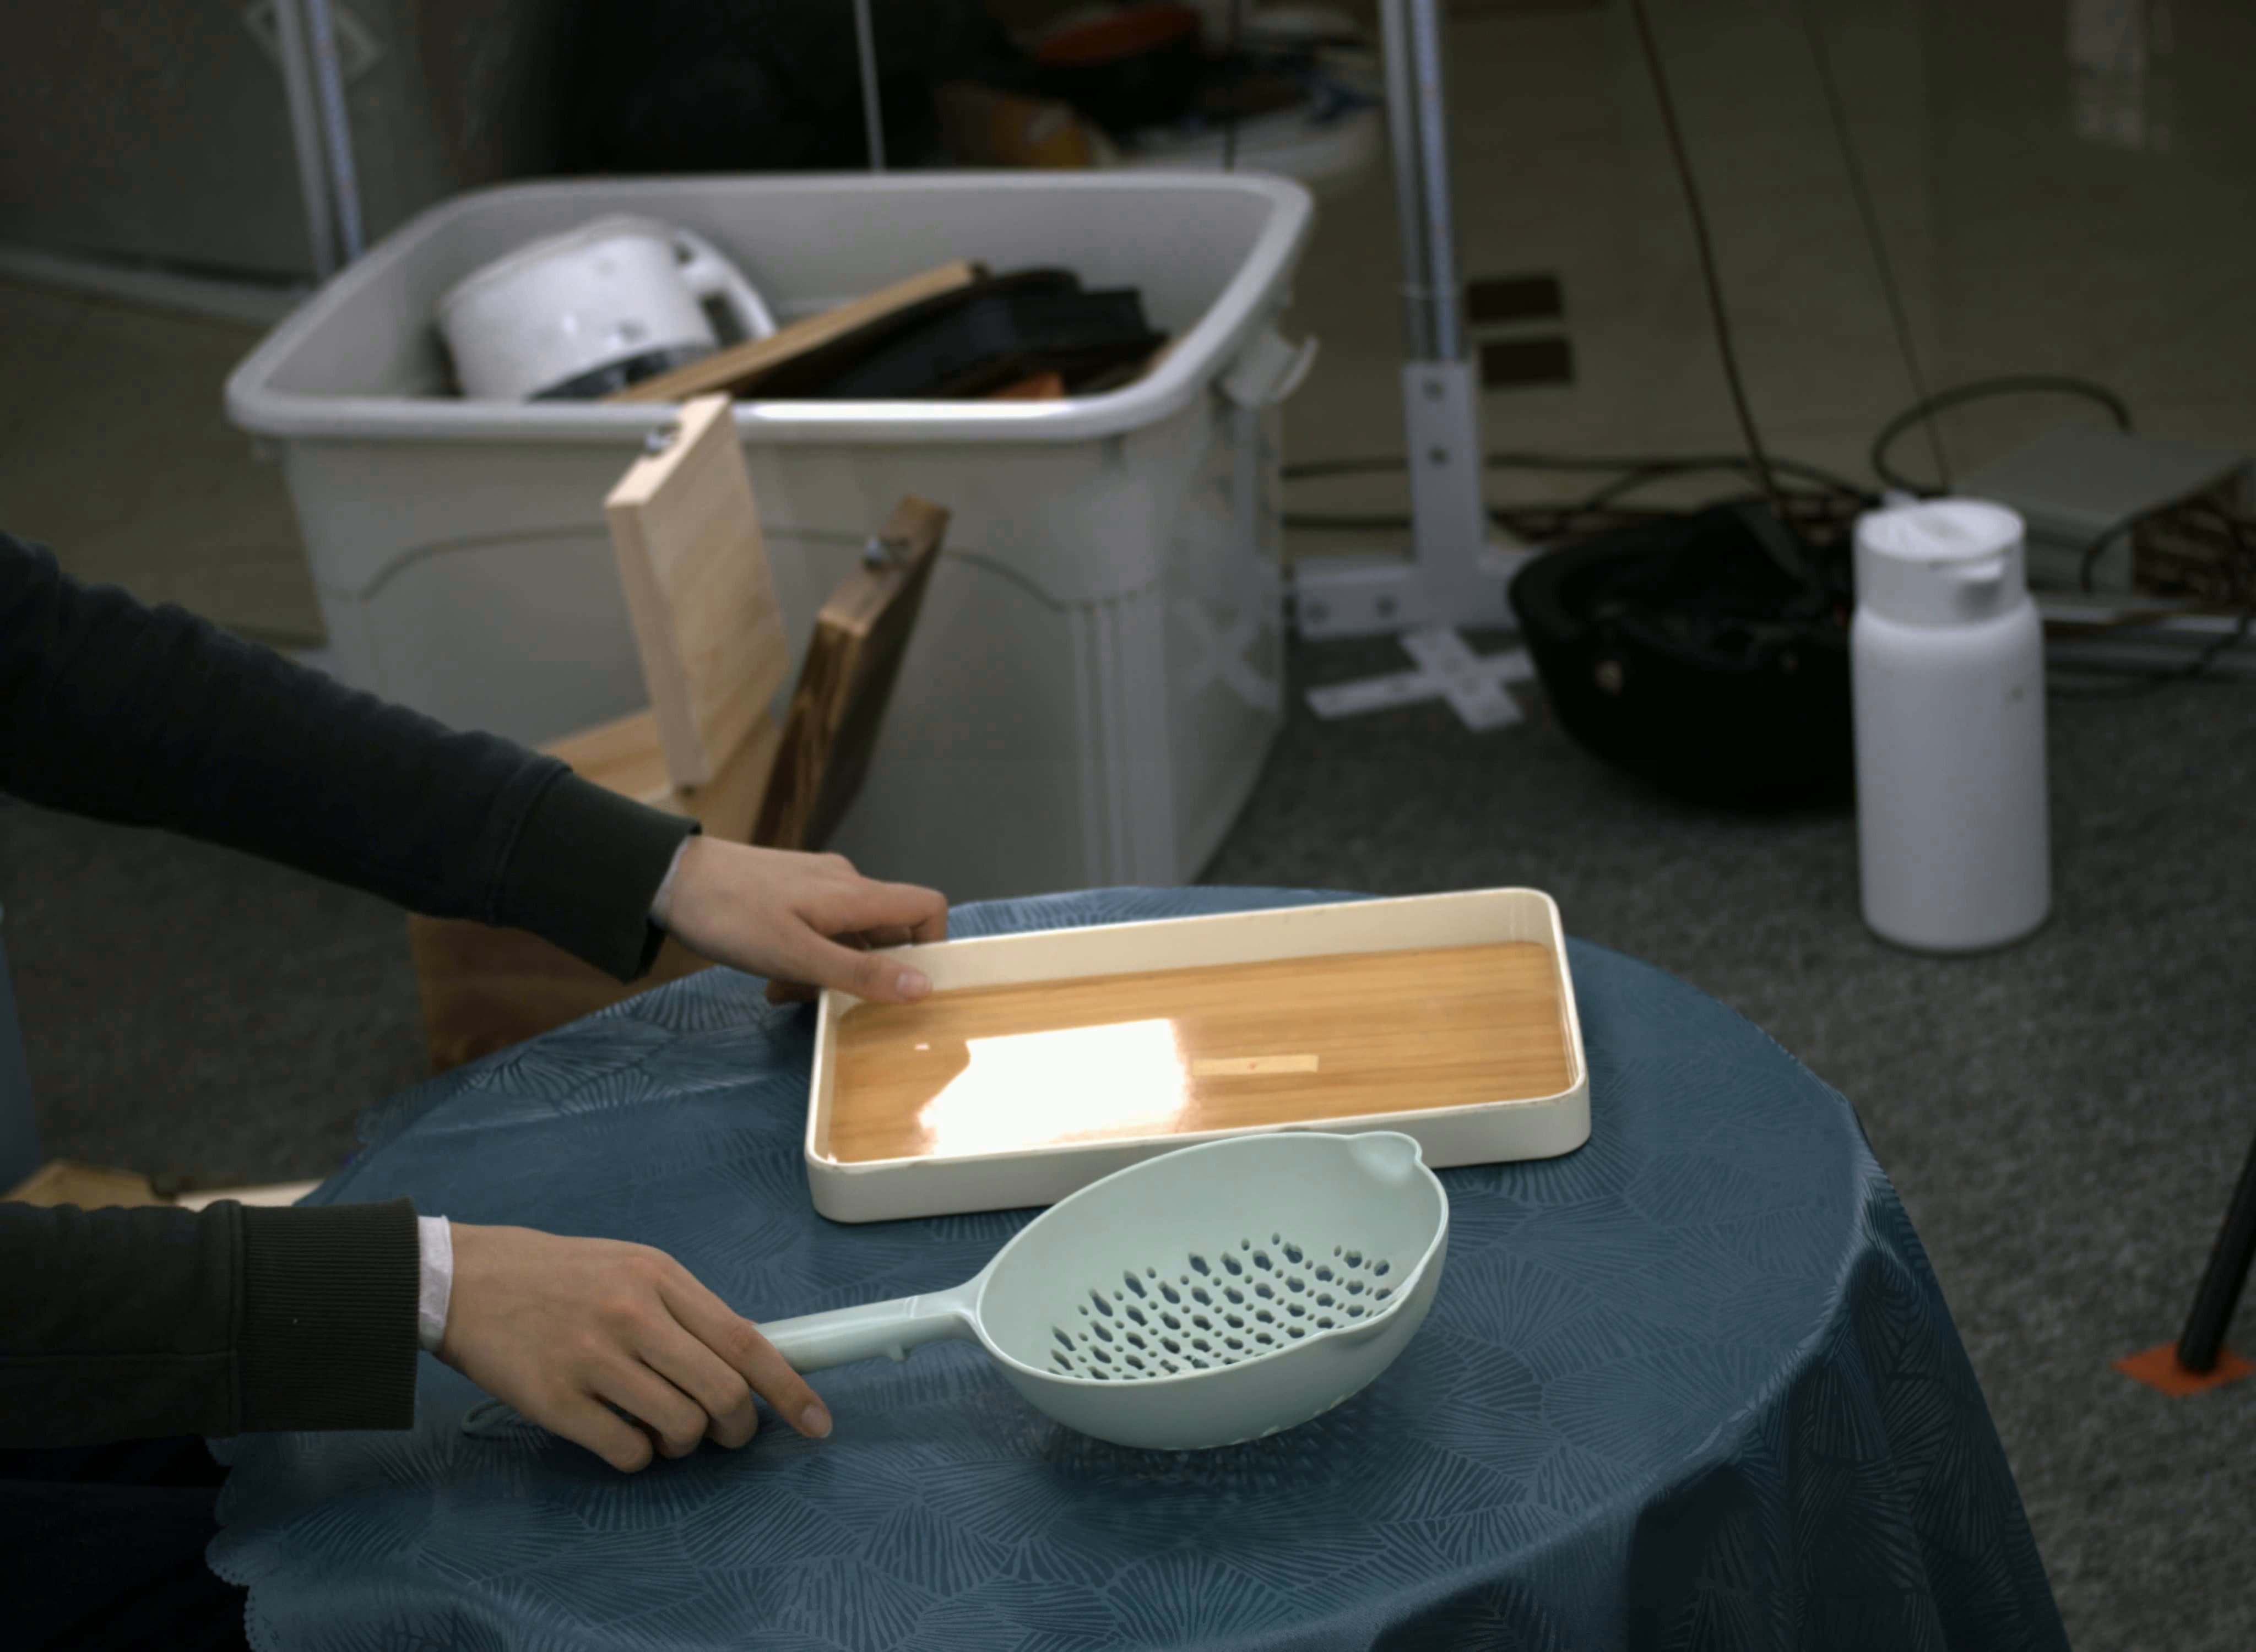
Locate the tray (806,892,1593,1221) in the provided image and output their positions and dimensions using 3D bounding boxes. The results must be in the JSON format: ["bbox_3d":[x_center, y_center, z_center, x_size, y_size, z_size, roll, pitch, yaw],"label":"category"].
[{"bbox_3d":[0.027,0.089,2.223,0.300,0.028,0.189,-5,25,2],"label":"tray"}]

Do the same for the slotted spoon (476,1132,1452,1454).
[{"bbox_3d":[-0.062,0.178,2.007,0.358,0.076,0.167,-3,25,8],"label":"slotted spoon"}]
